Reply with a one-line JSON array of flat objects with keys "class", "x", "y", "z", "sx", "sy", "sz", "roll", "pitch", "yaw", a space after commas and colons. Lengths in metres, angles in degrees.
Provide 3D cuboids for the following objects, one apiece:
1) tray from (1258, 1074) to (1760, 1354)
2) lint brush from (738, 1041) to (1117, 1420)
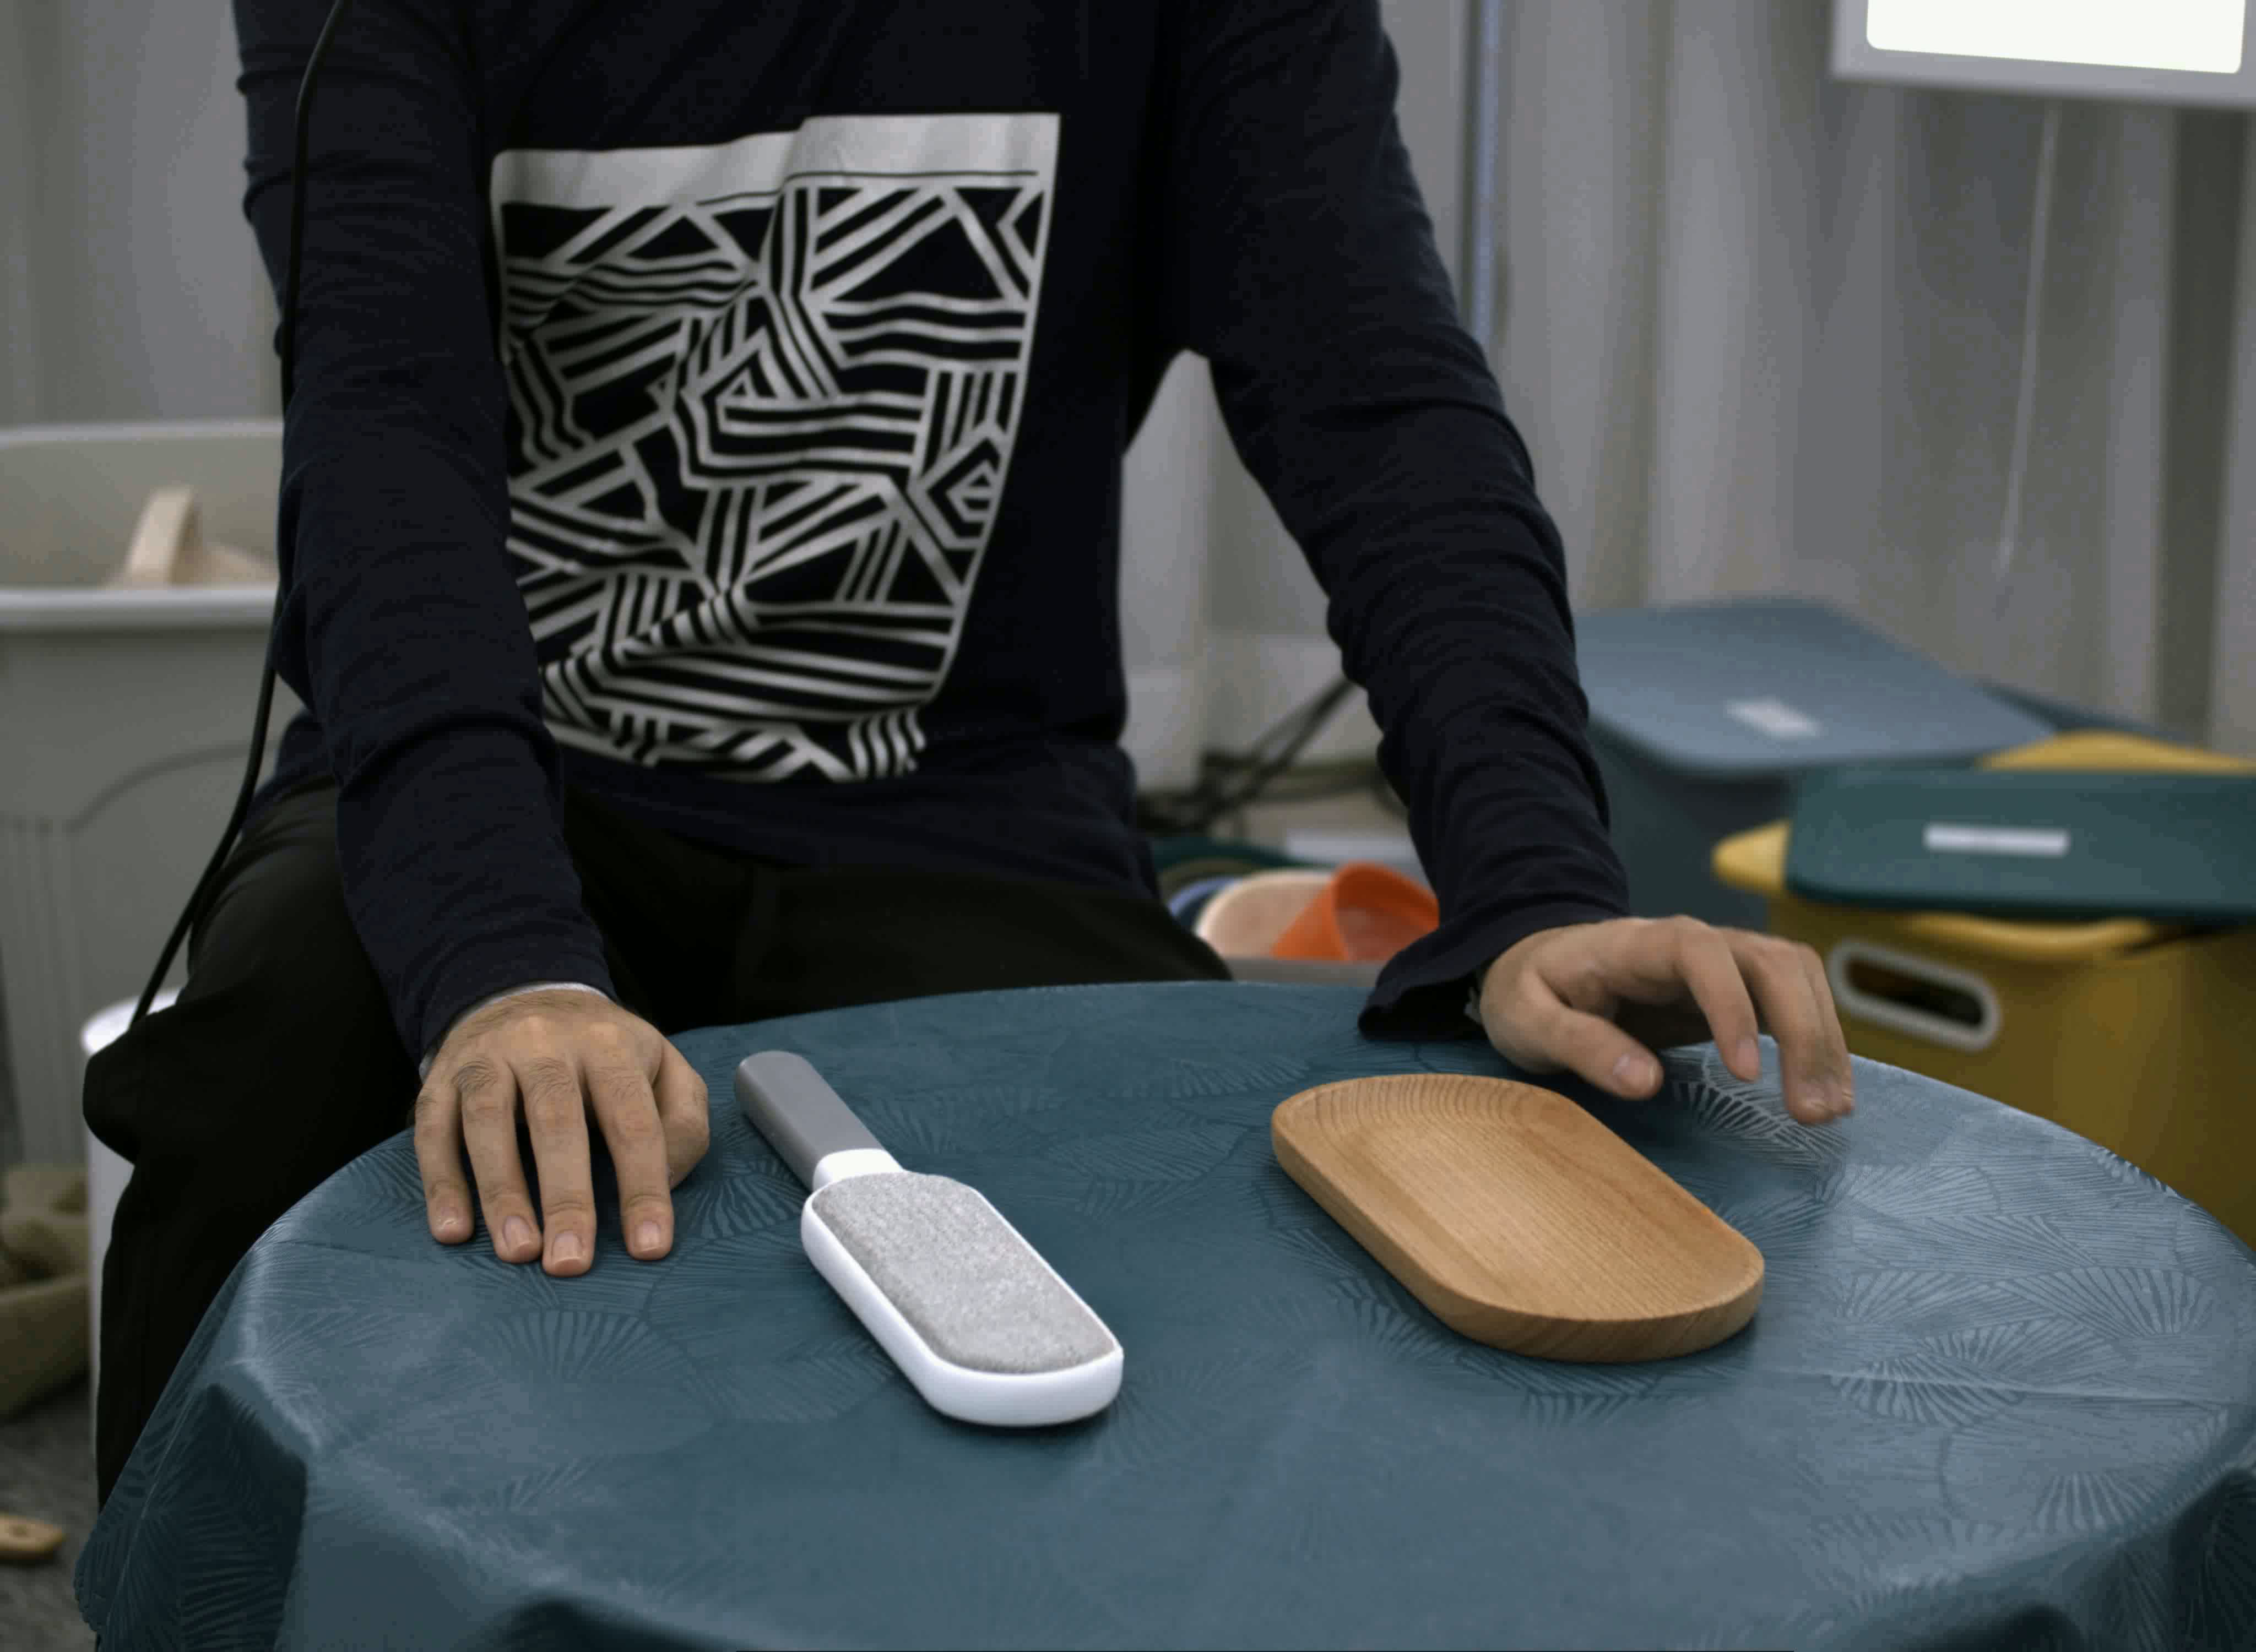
[{"class": "tray", "x": 0.112, "y": 0.115, "z": 1.592, "sx": 0.102, "sy": 0.020, "sz": 0.229, "roll": -3, "pitch": 14, "yaw": -19}, {"class": "lint brush", "x": -0.068, "y": 0.115, "z": 1.562, "sx": 0.060, "sy": 0.021, "sz": 0.305, "roll": -10, "pitch": 18, "yaw": -16}]
